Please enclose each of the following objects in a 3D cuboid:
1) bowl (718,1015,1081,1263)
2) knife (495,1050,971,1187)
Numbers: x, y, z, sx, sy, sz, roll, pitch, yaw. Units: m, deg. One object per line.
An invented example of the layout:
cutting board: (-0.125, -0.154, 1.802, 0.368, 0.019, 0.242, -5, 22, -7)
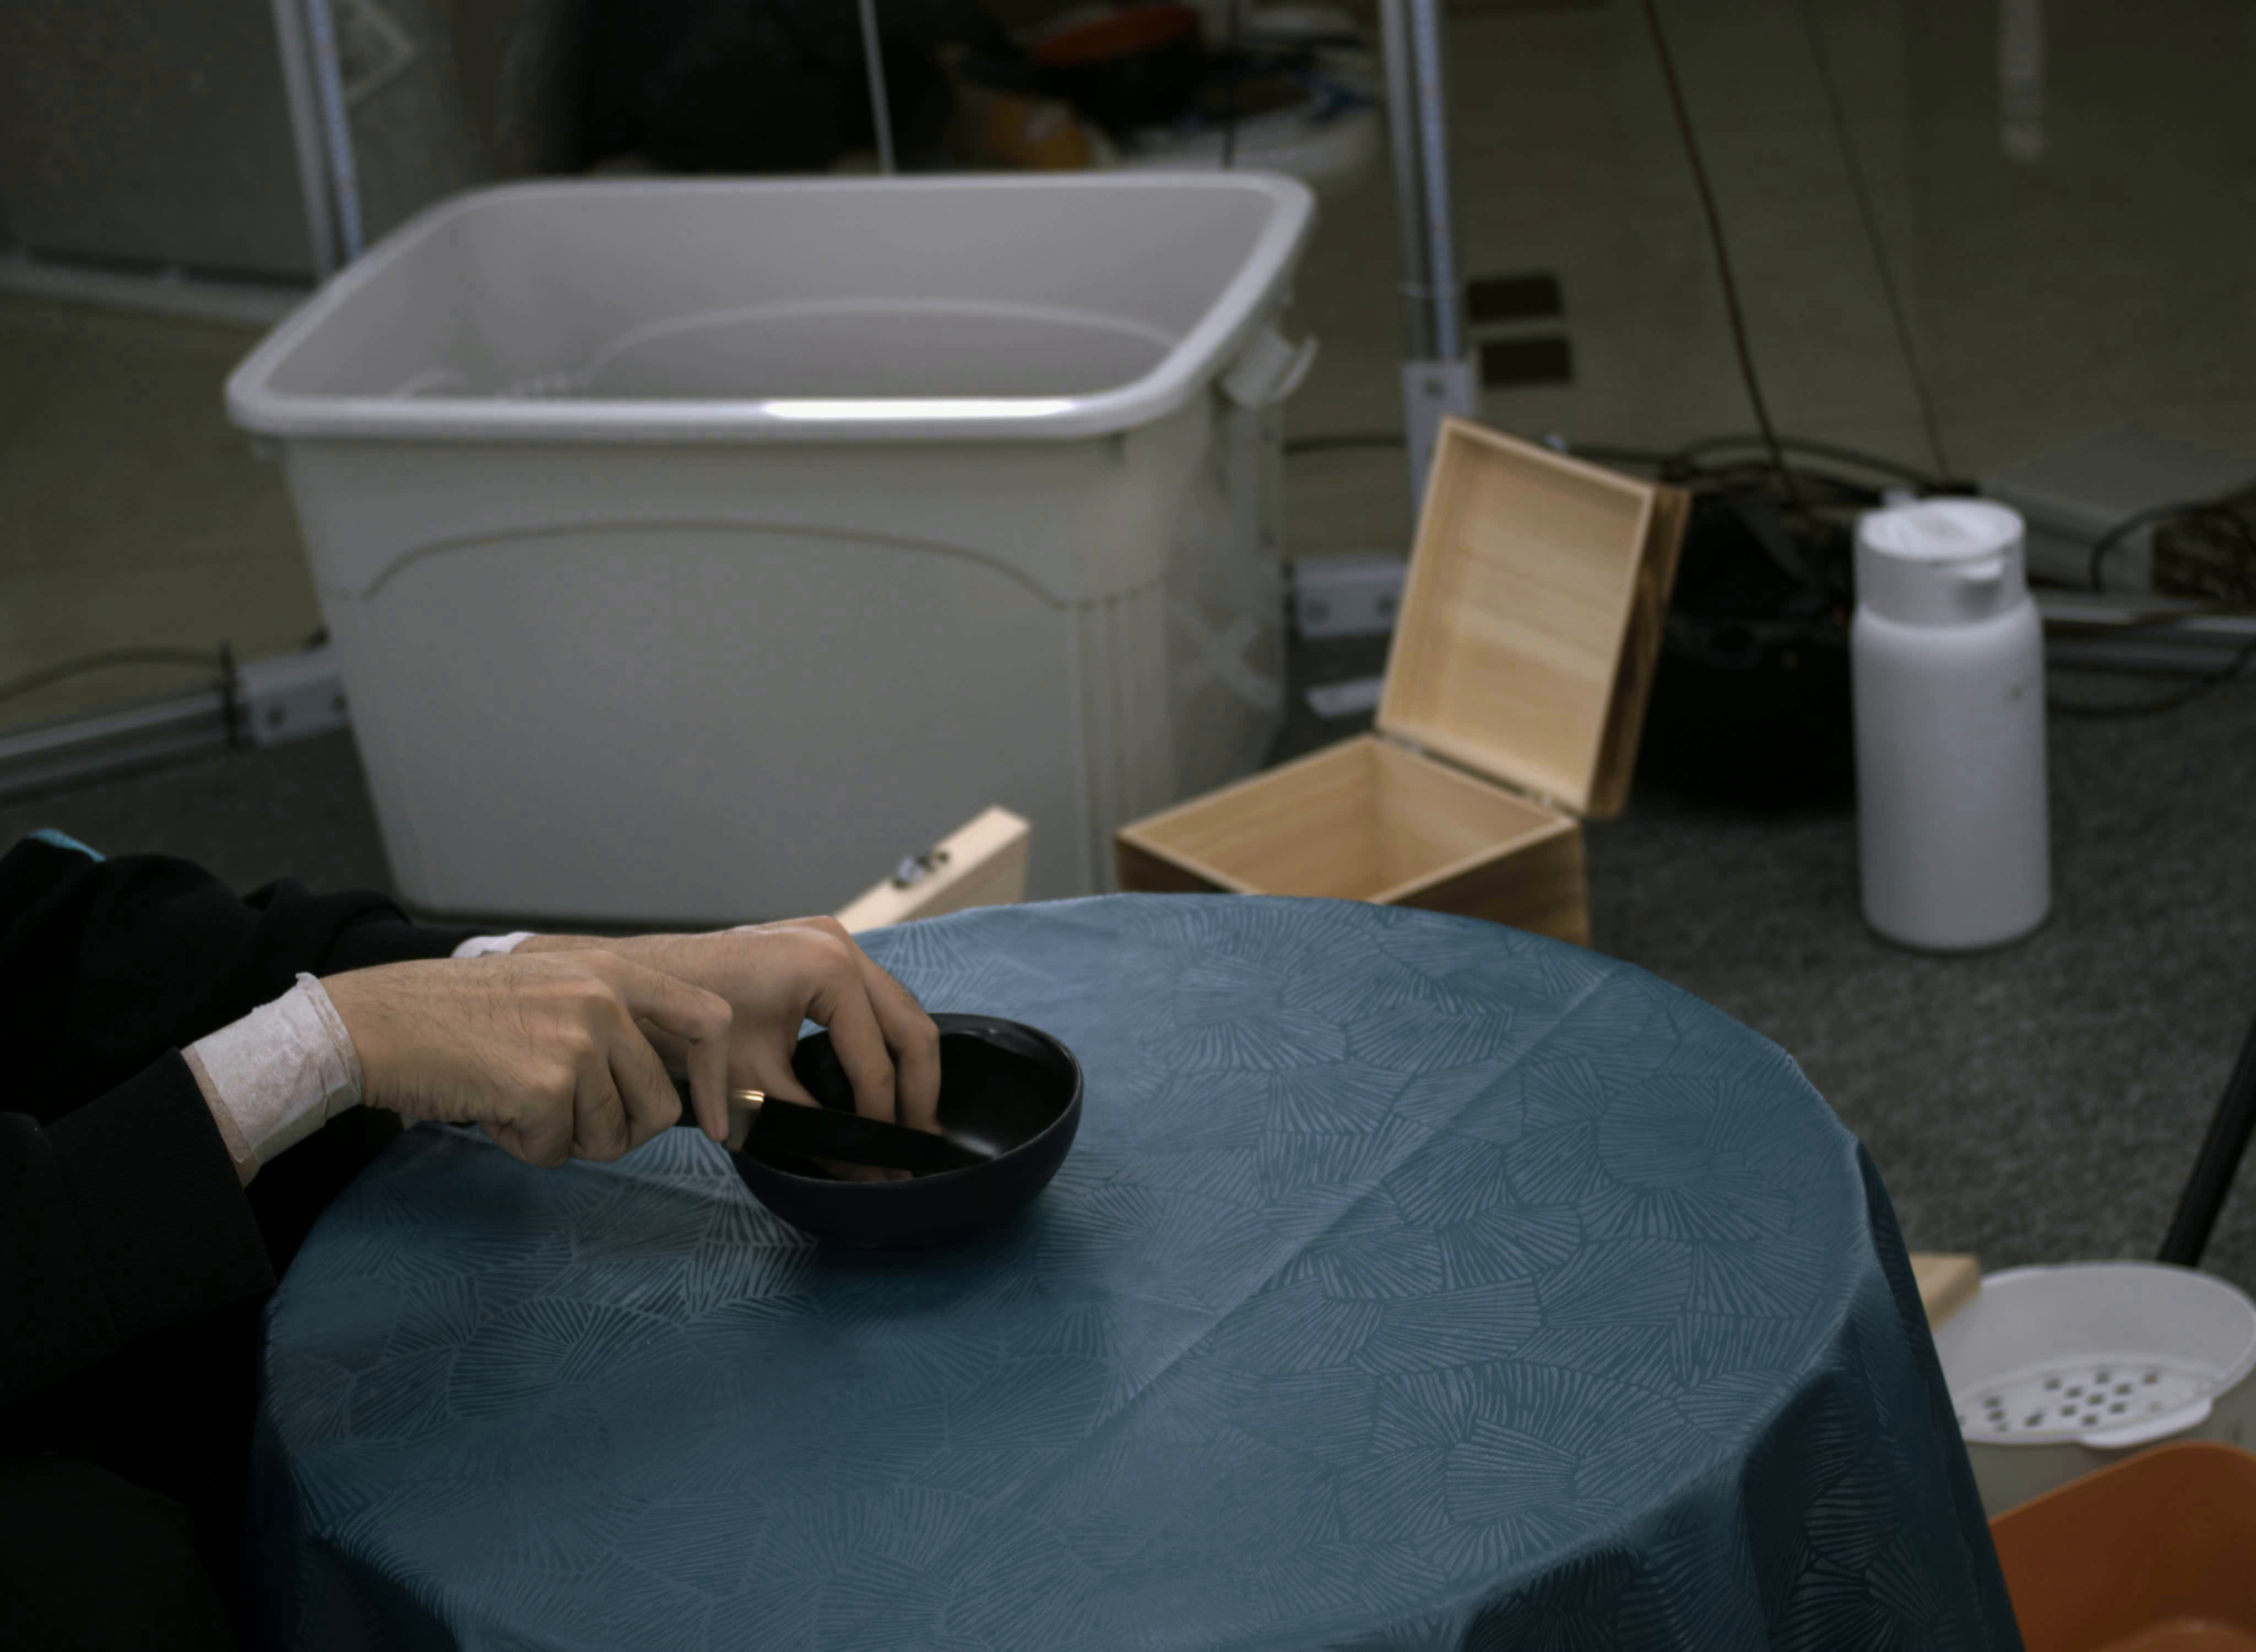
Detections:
bowl: (-0.083, 0.126, 2.143, 0.140, 0.050, 0.138, -9, 27, 5)
knife: (-0.138, 0.111, 2.100, 0.226, 0.026, 0.017, 15, 21, -34)
